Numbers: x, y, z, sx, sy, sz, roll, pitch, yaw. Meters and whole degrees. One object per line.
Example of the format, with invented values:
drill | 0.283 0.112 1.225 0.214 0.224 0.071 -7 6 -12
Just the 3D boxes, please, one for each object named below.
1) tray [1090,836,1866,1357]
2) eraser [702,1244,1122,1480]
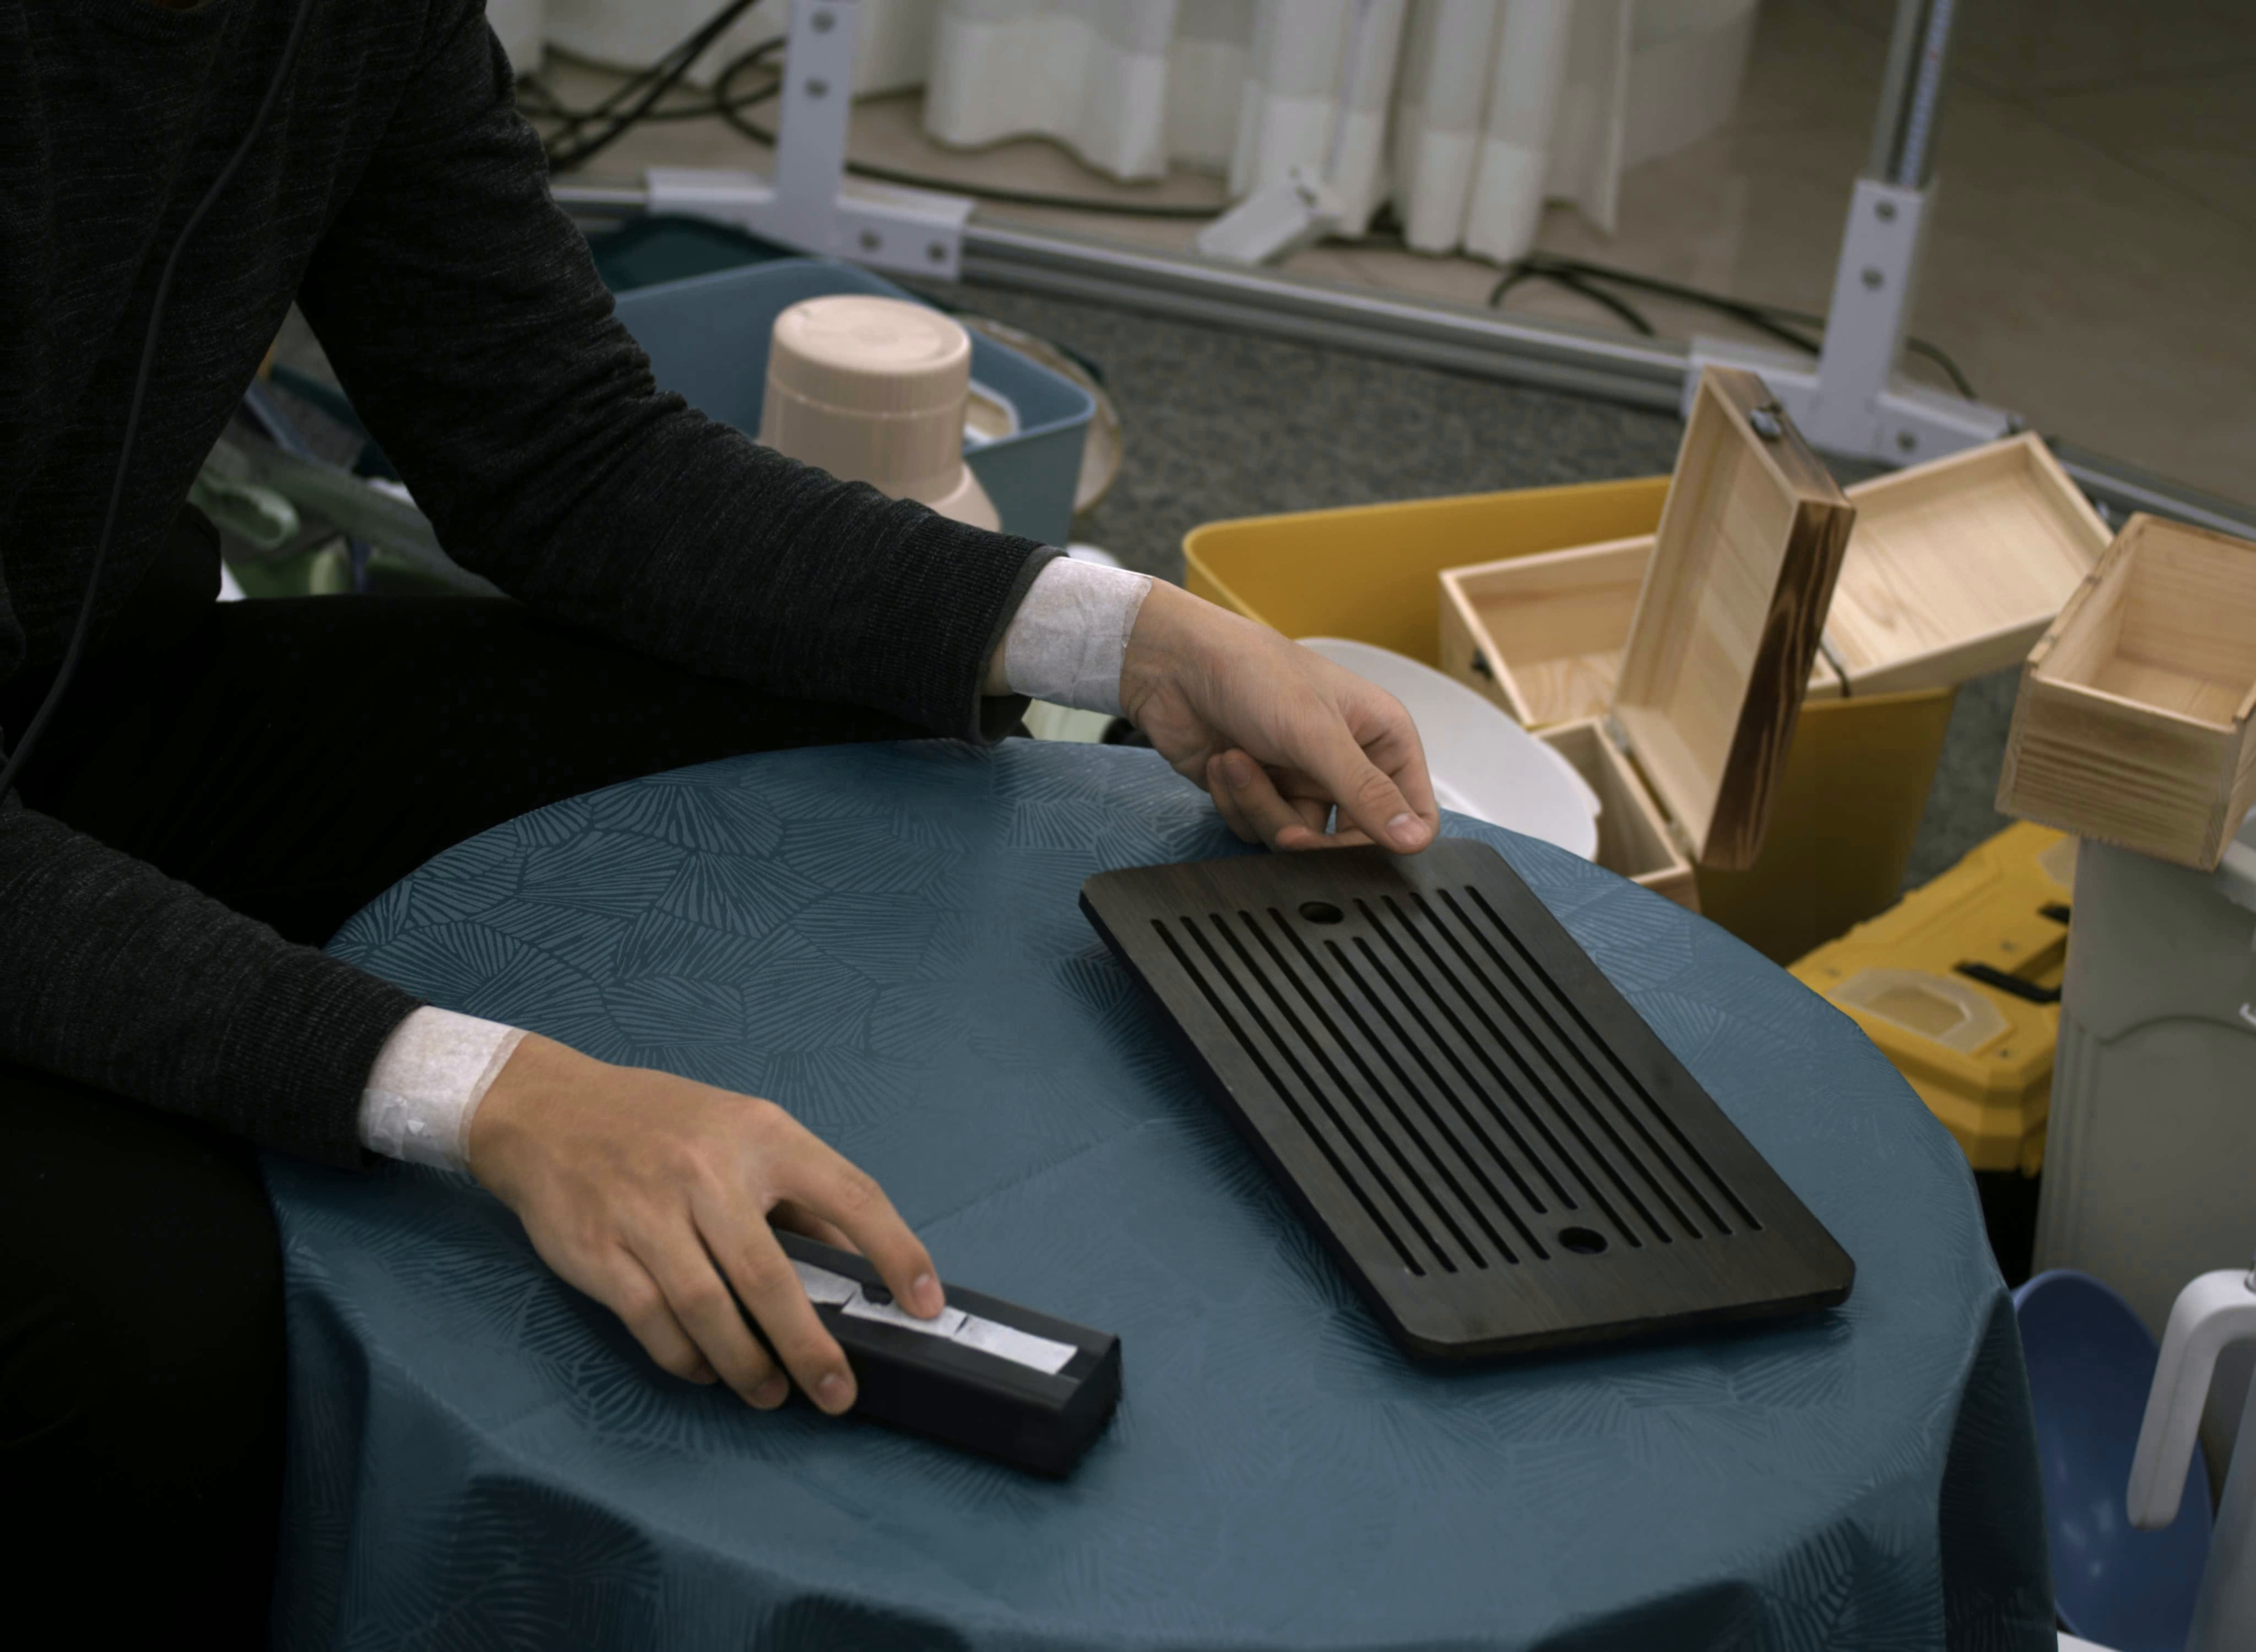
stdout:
tray | 0.116 0.091 1.862 0.169 0.018 0.309 -6 31 -22
eraser | -0.068 0.167 1.670 0.126 0.030 0.053 14 26 17
